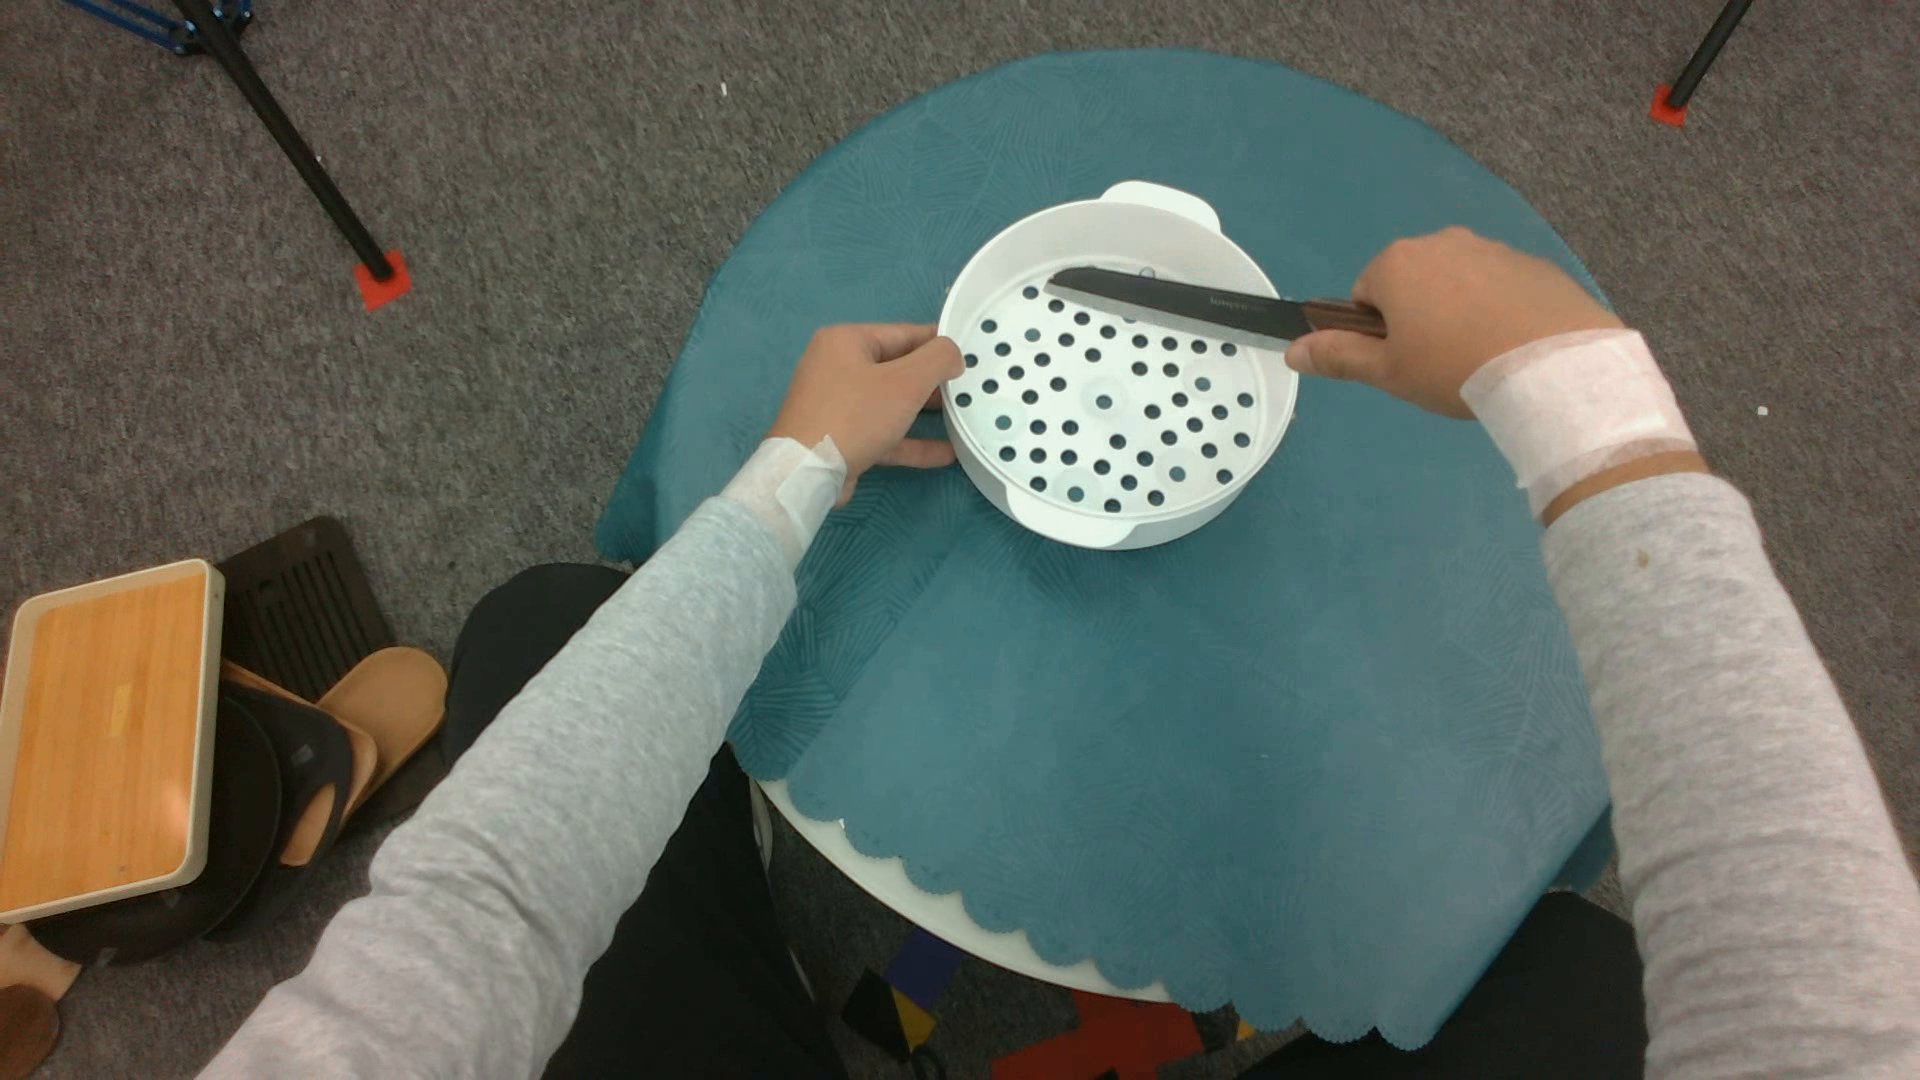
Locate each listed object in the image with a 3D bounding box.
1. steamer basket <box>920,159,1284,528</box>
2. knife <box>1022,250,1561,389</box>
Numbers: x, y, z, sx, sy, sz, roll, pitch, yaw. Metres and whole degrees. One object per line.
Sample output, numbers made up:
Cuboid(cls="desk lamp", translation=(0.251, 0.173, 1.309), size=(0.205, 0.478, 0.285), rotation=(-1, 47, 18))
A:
Cuboid(cls="steamer basket", translation=(0.078, -0.105, 0.788), size=(0.202, 0.069, 0.231), rotation=(16, 70, 4))
Cuboid(cls="knife", translation=(0.144, -0.110, 0.670), size=(0.289, 0.050, 0.020), rotation=(18, 67, 36))
